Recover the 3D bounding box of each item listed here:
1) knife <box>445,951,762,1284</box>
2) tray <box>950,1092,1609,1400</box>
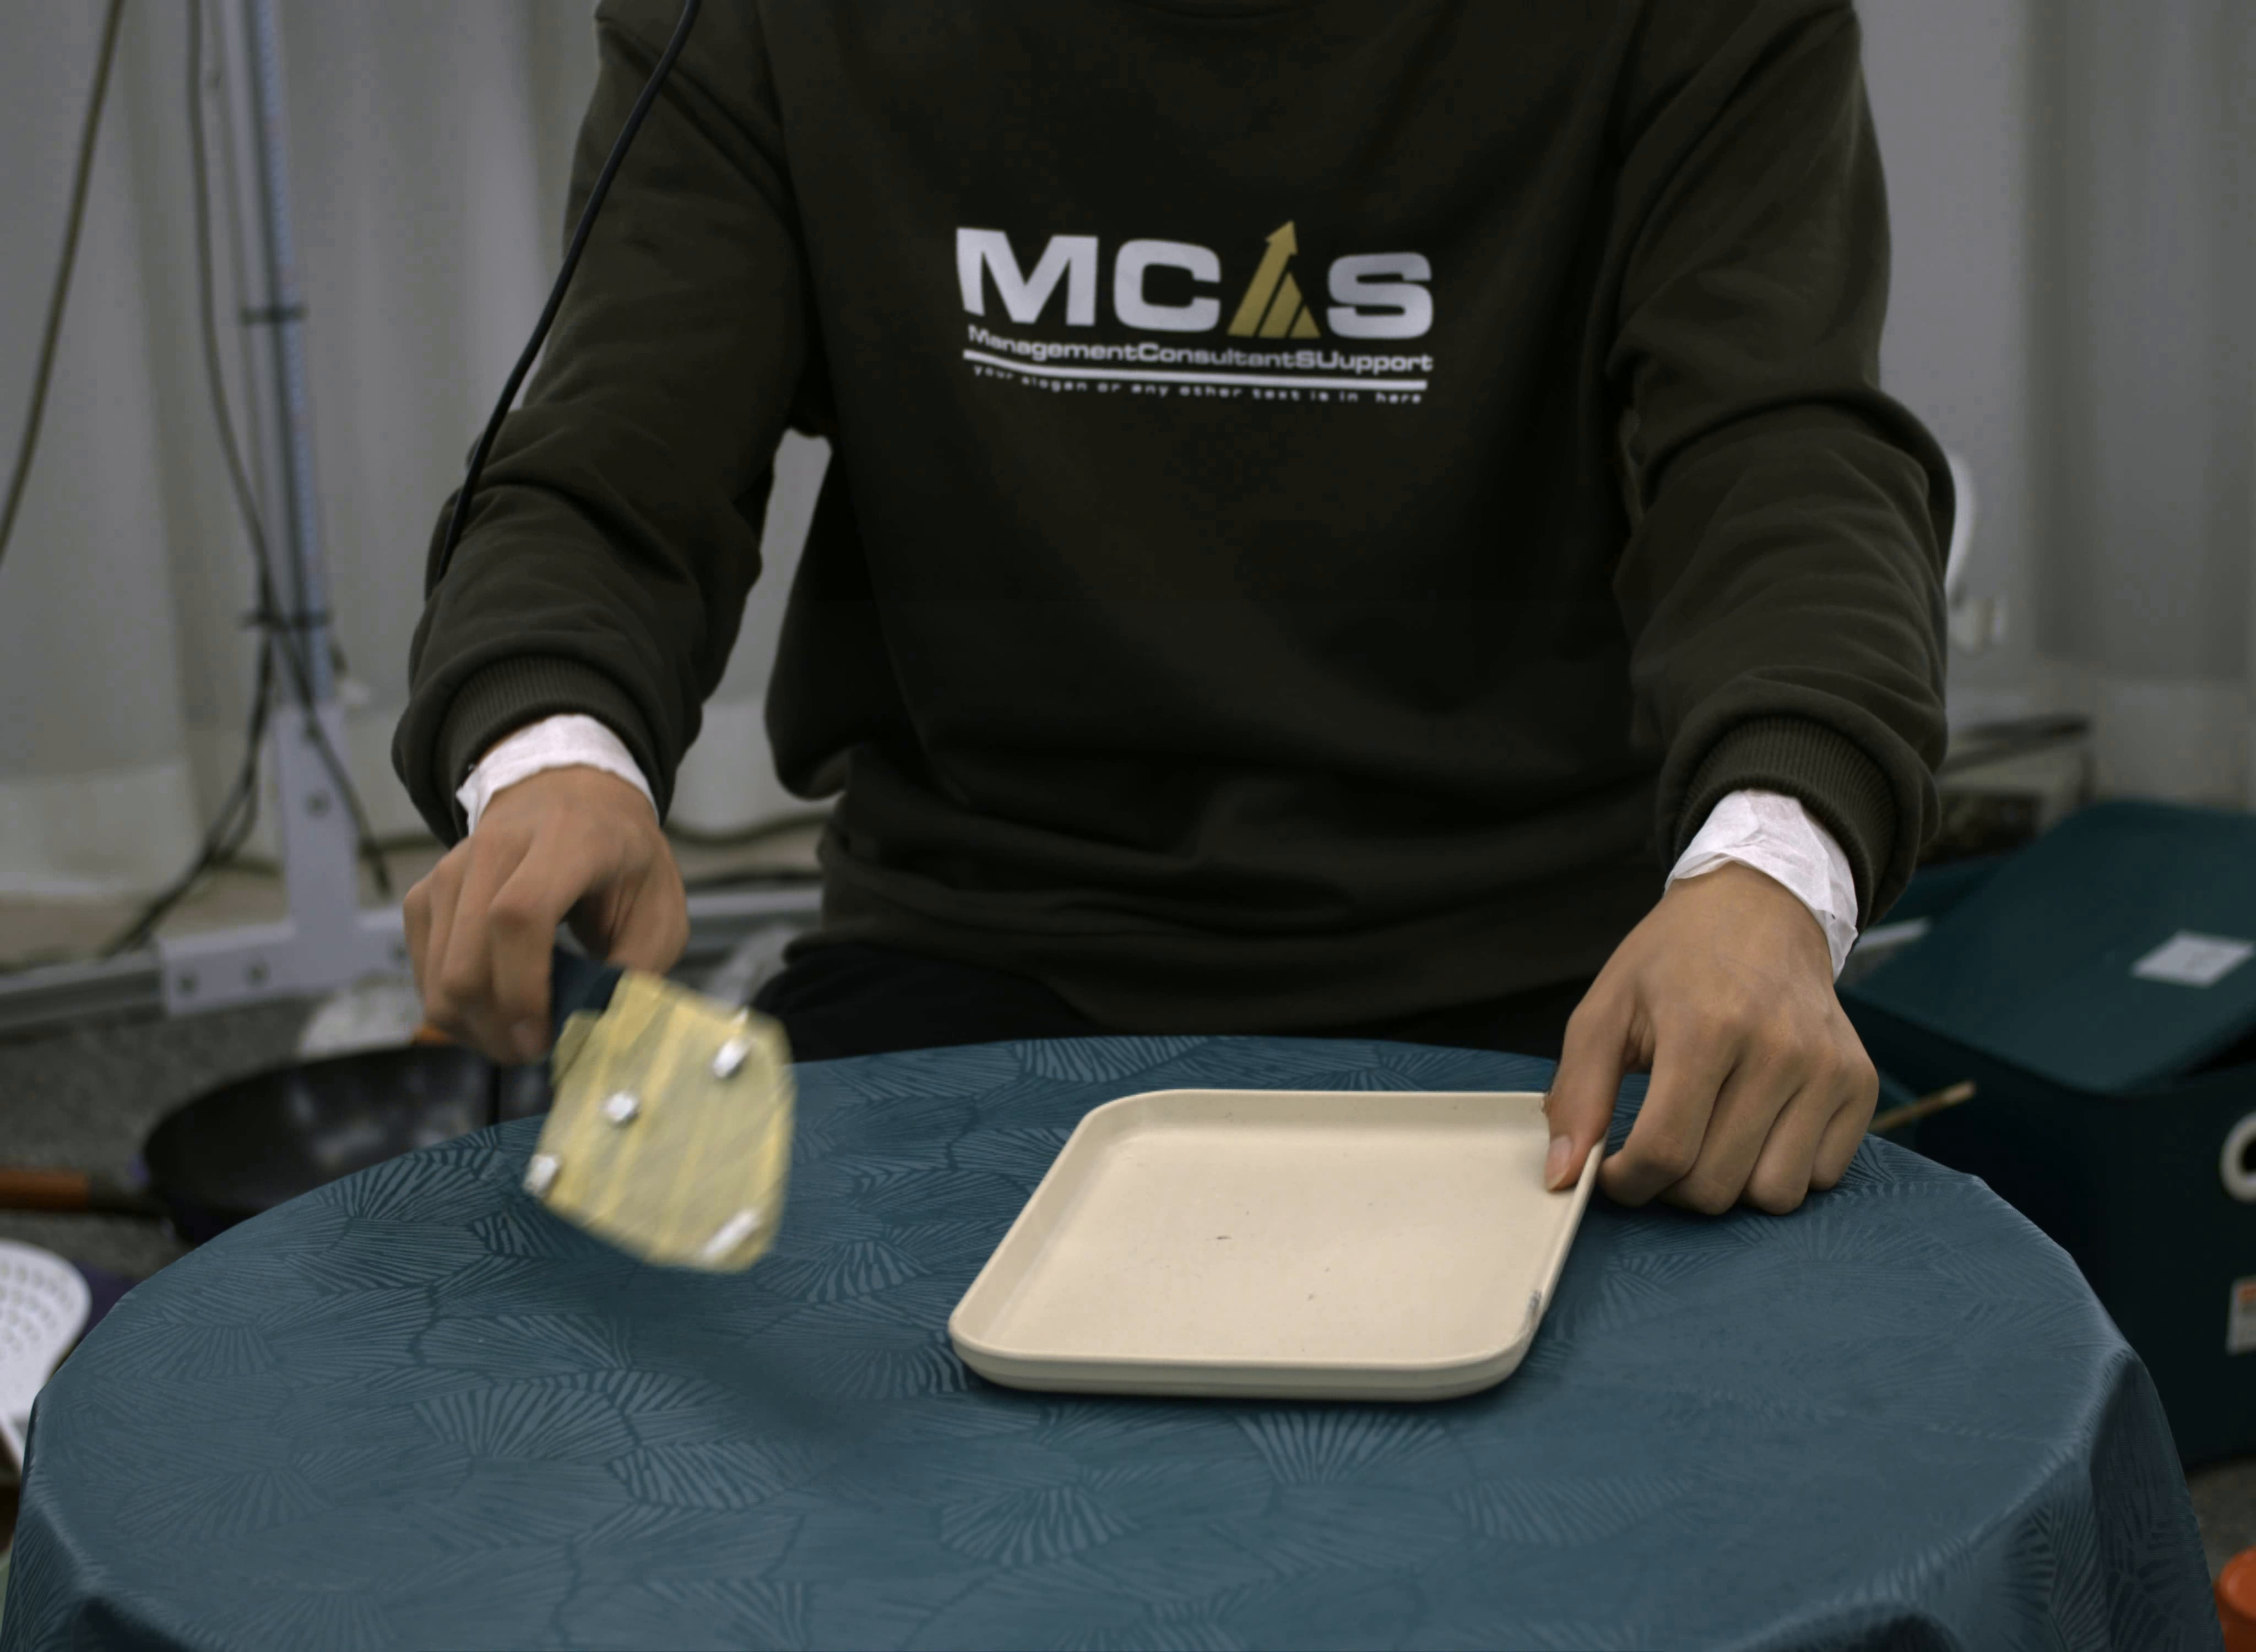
[{"bbox_3d":[-0.161,0.084,1.632,0.027,0.081,0.291,27,-1,-24],"label":"knife"},{"bbox_3d":[0.050,0.124,1.635,0.171,0.017,0.241,-1,15,13],"label":"tray"}]
